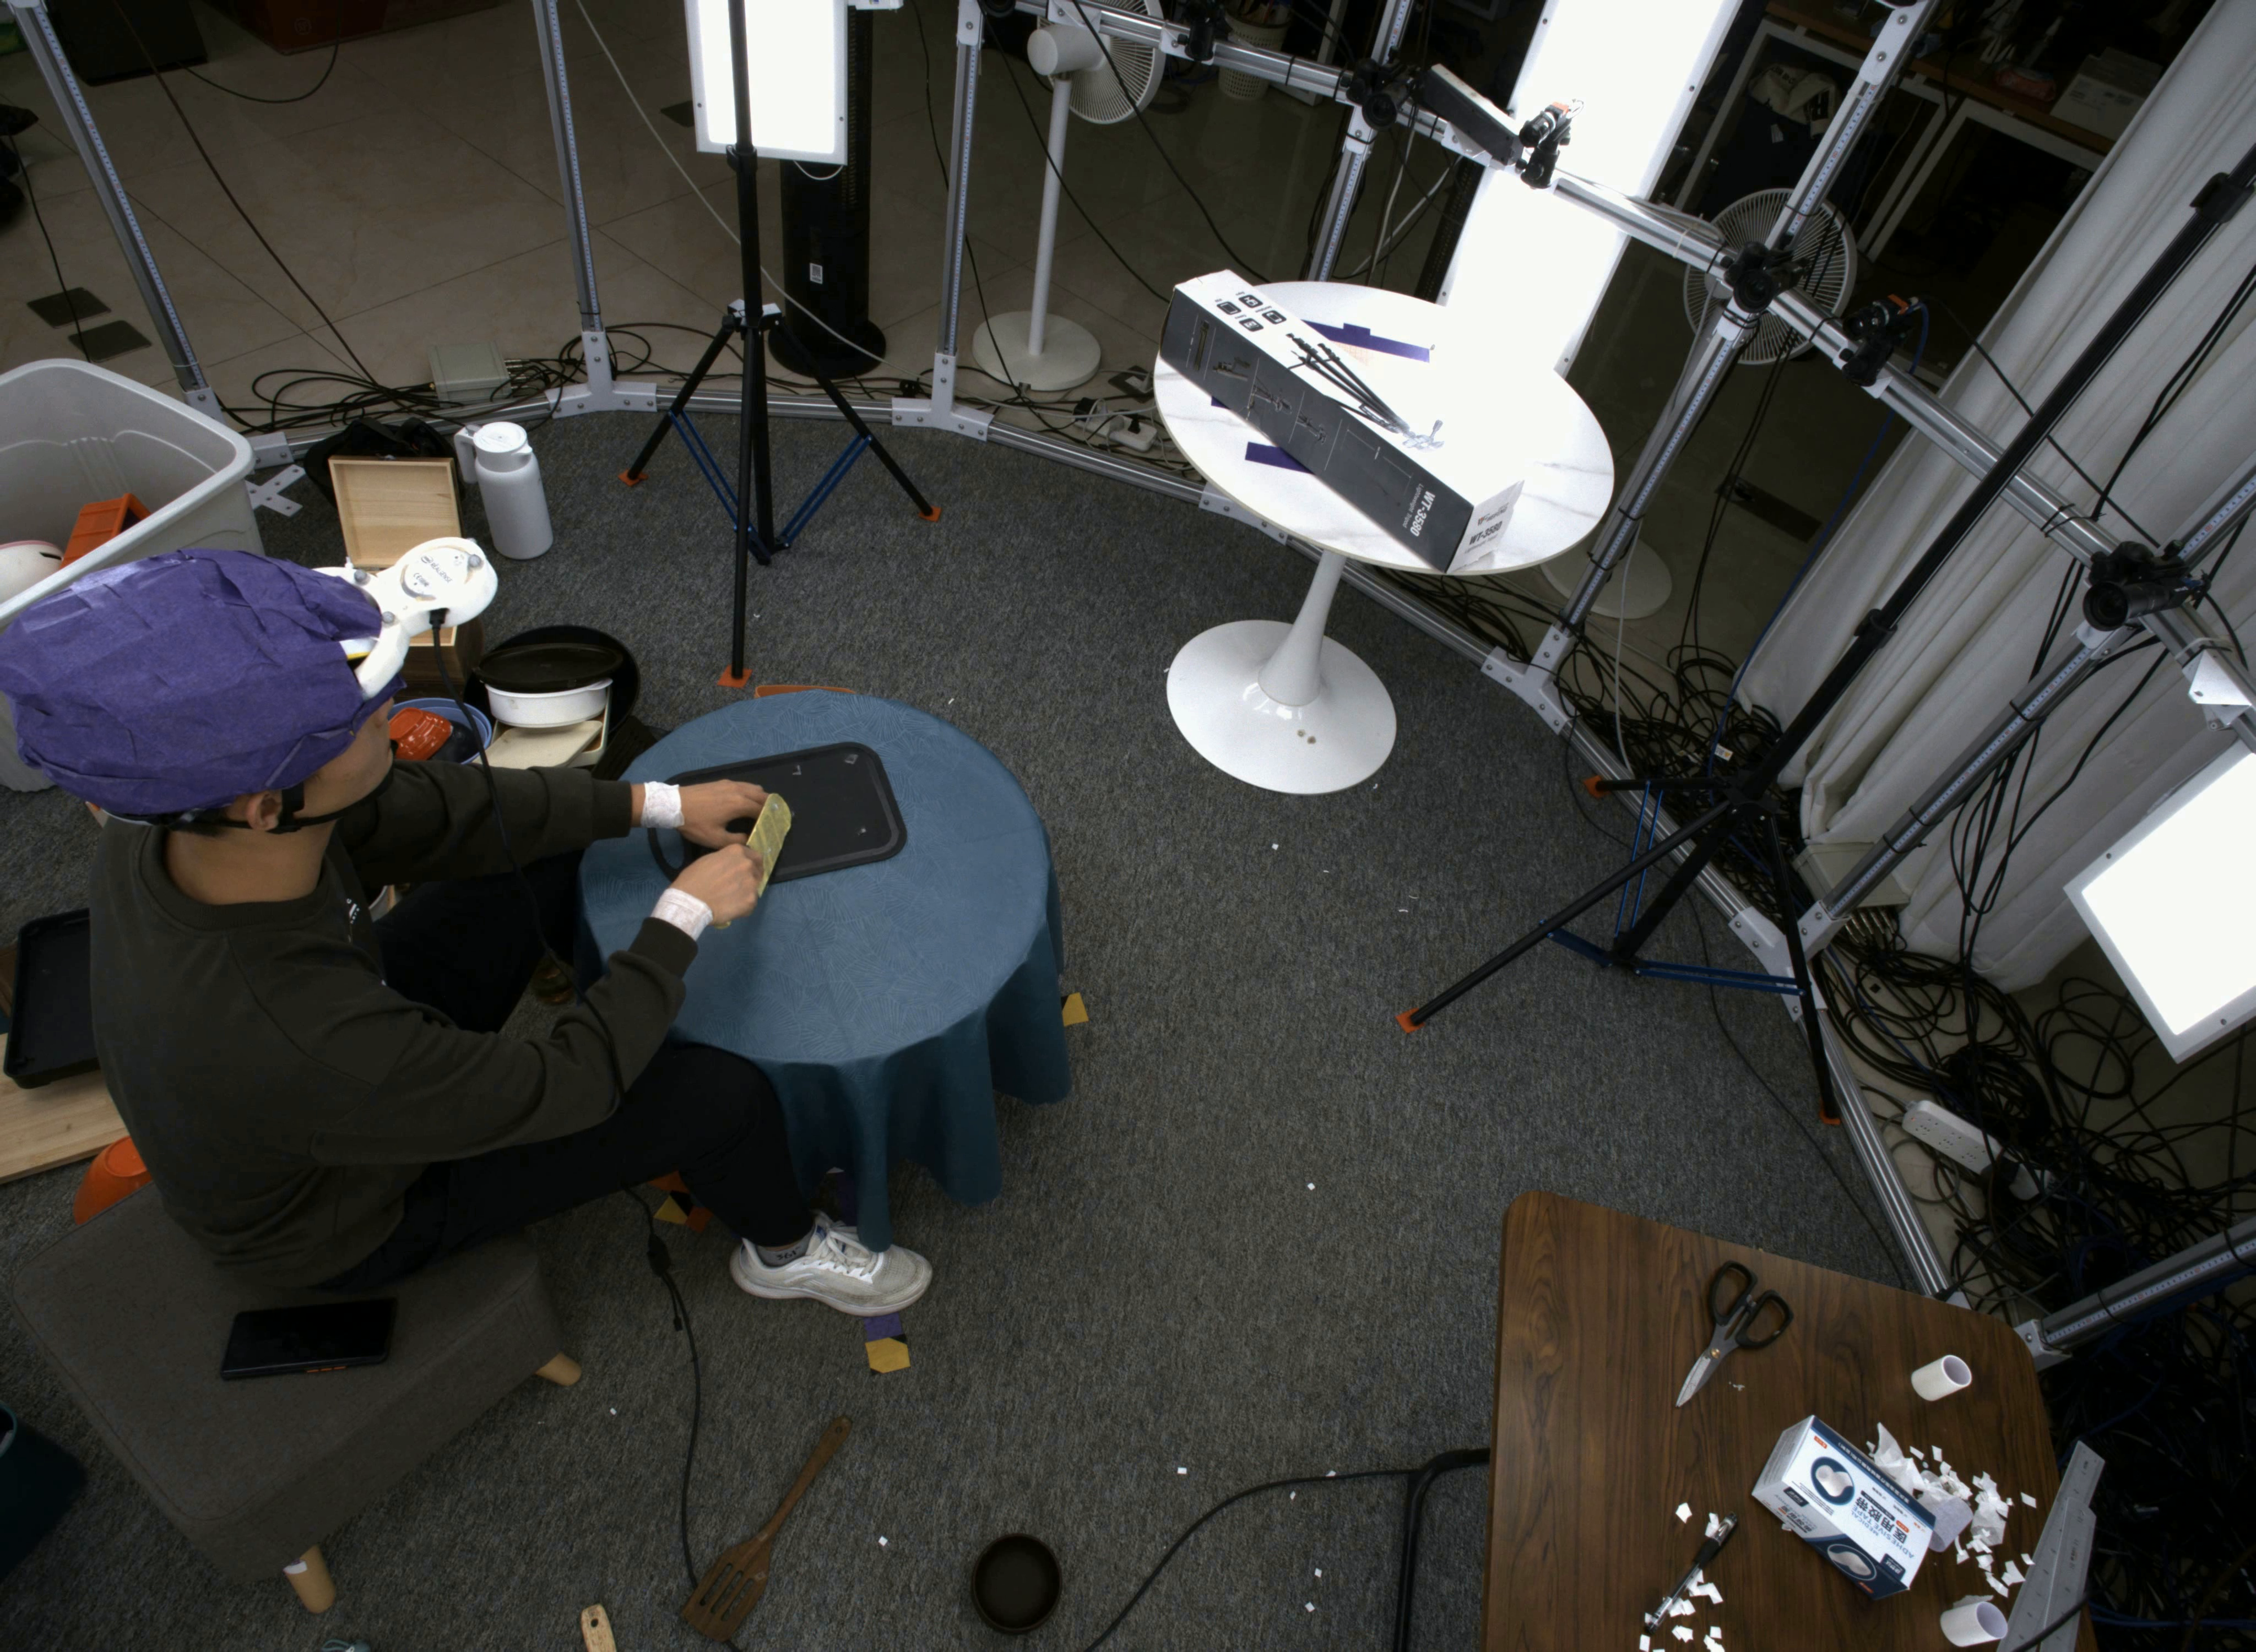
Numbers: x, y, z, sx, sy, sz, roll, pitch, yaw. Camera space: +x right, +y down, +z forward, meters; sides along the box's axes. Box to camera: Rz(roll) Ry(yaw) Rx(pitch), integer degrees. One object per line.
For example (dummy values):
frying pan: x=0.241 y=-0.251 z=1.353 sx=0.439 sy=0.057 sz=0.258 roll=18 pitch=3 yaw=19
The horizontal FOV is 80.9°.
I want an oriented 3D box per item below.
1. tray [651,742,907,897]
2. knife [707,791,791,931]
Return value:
tray: x=-0.469 y=-0.013 z=1.728 sx=0.327 sy=0.010 sz=0.206 roll=-13 pitch=58 yaw=-23
knife: x=-0.461 y=0.044 z=1.602 sx=0.027 sy=0.084 sz=0.284 roll=-6 pitch=32 yaw=9
